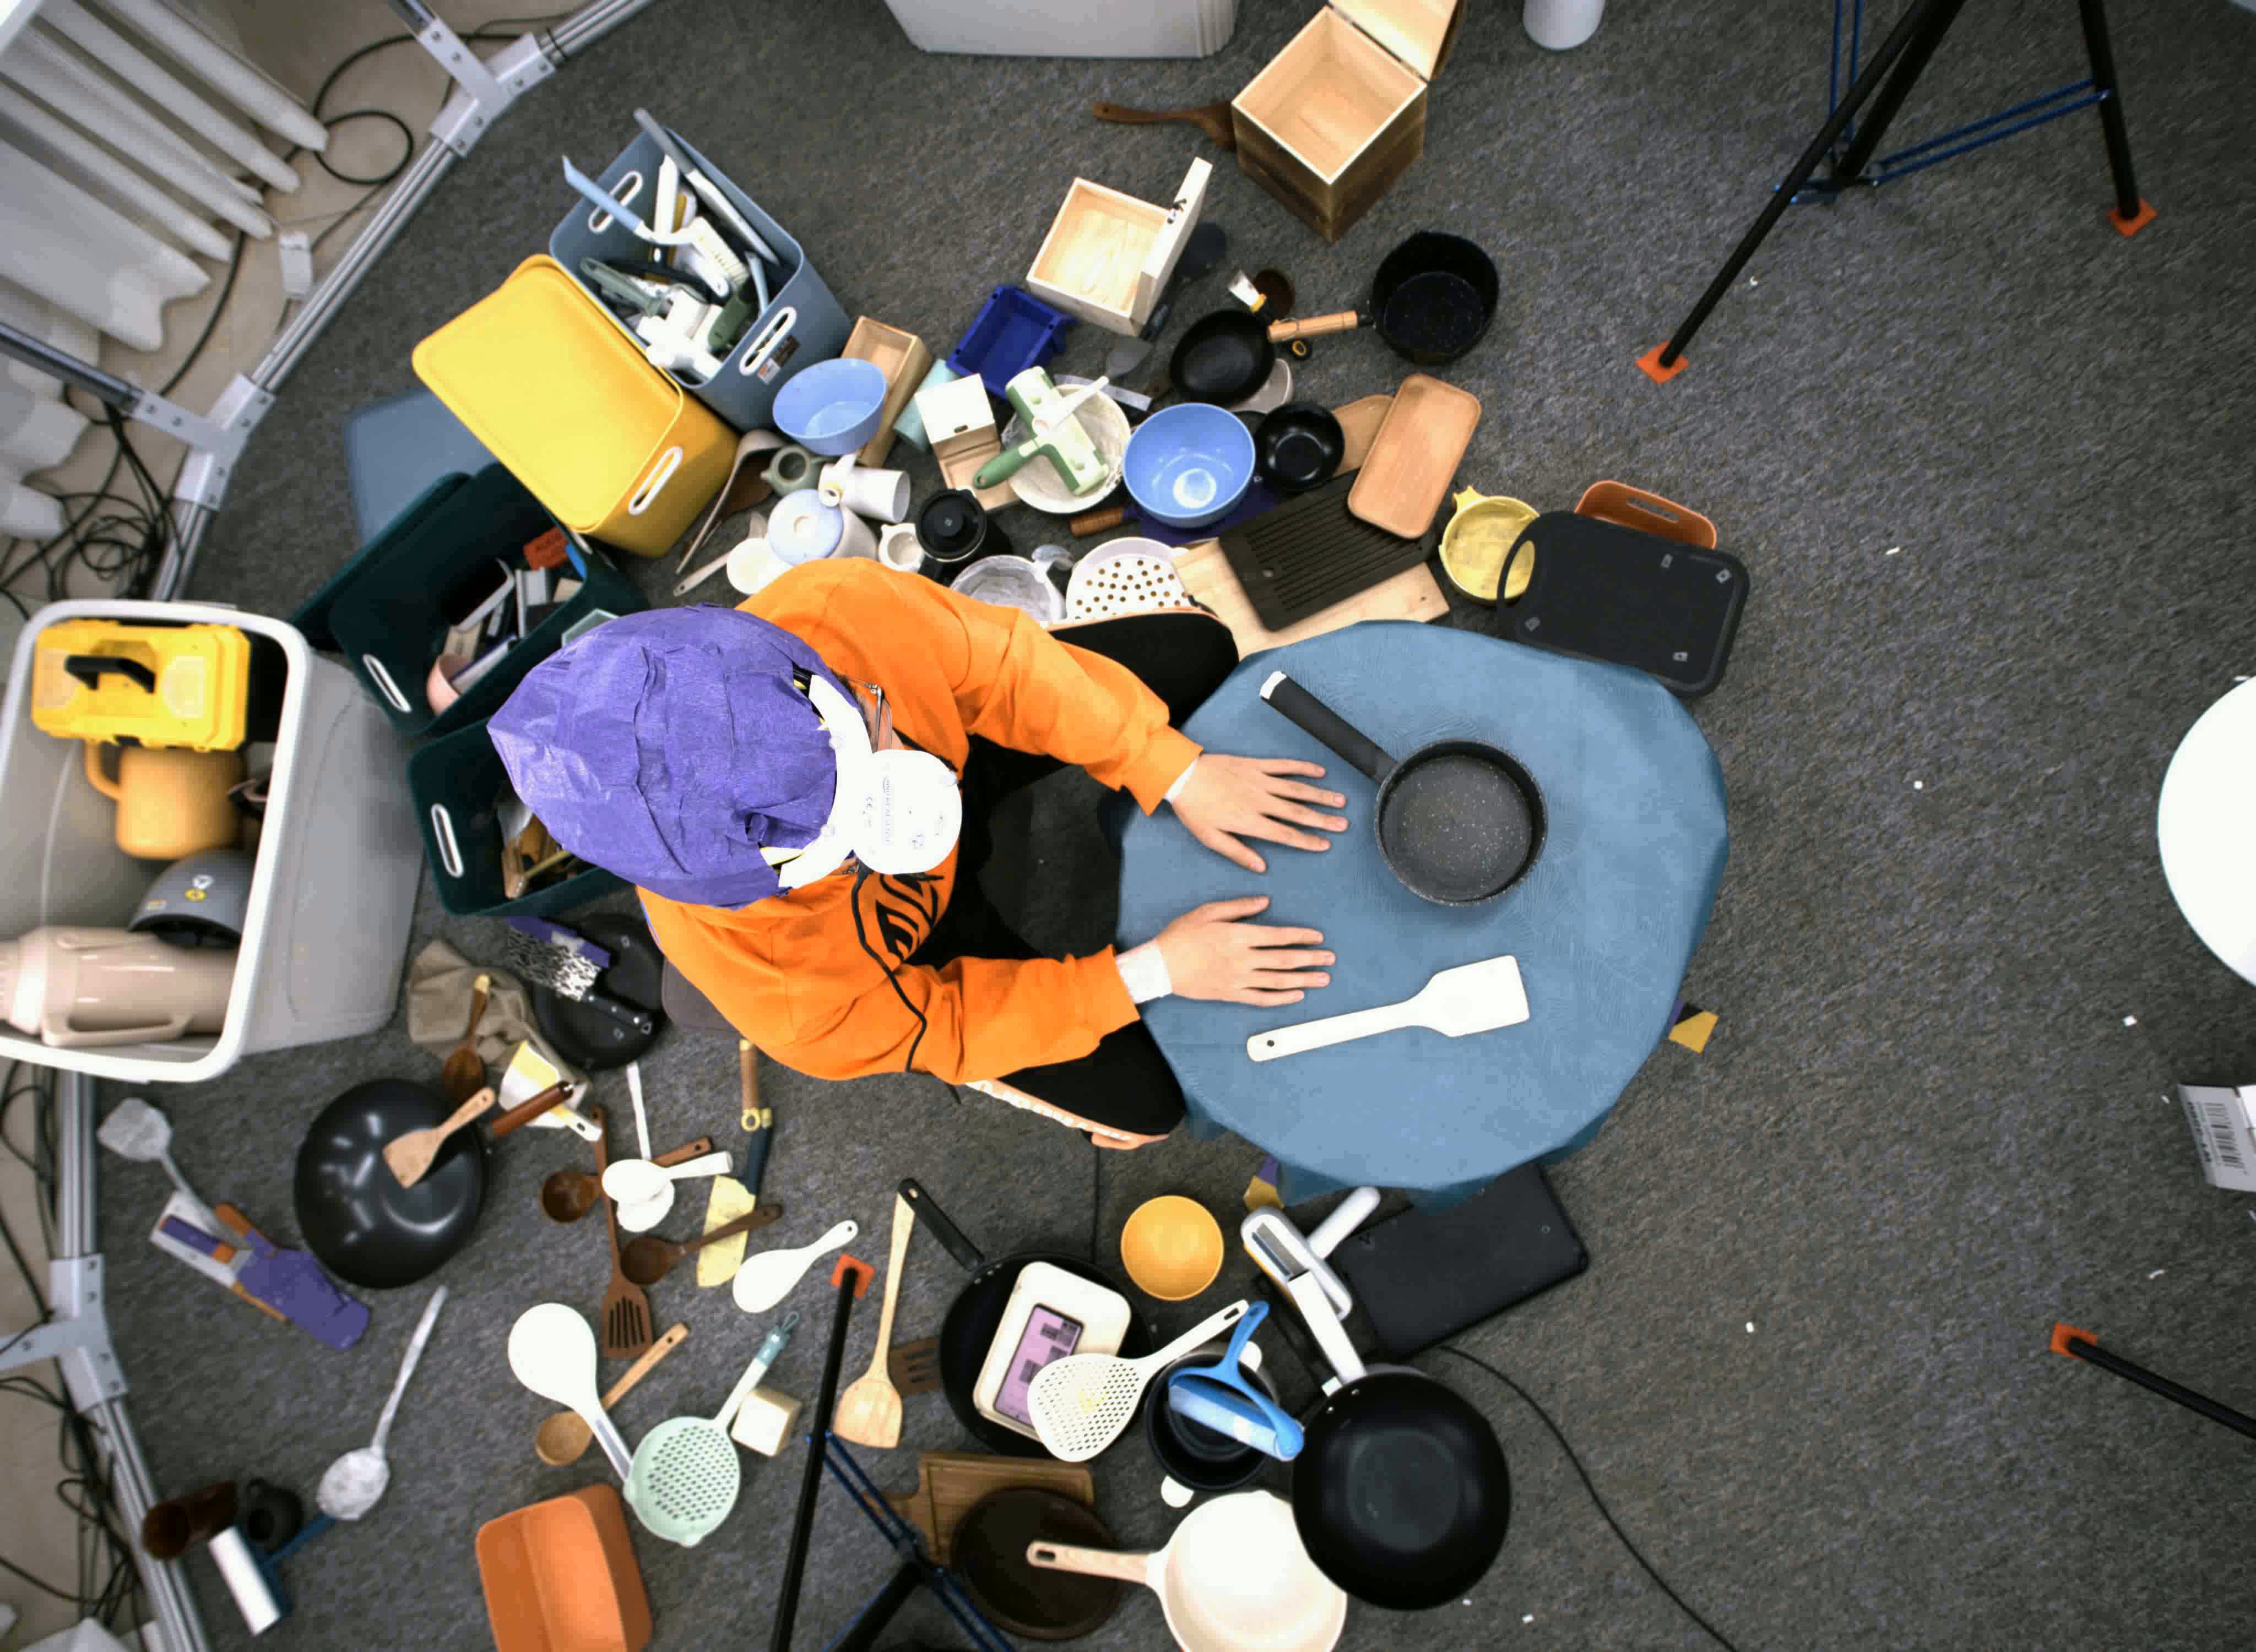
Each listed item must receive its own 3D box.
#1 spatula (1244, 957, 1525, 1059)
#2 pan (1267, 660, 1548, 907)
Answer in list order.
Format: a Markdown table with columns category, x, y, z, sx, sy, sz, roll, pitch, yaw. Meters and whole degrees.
| category | x | y | z | sx | sy | sz | roll | pitch | yaw |
| --- | --- | --- | --- | --- | --- | --- | --- | --- | --- |
| spatula | 0.265 | 0.201 | 1.449 | 0.294 | 0.010 | 0.072 | -14 | 88 | 9 |
| pan | 0.278 | -0.053 | 1.423 | 0.327 | 0.086 | 0.172 | 40 | 93 | 9 |
